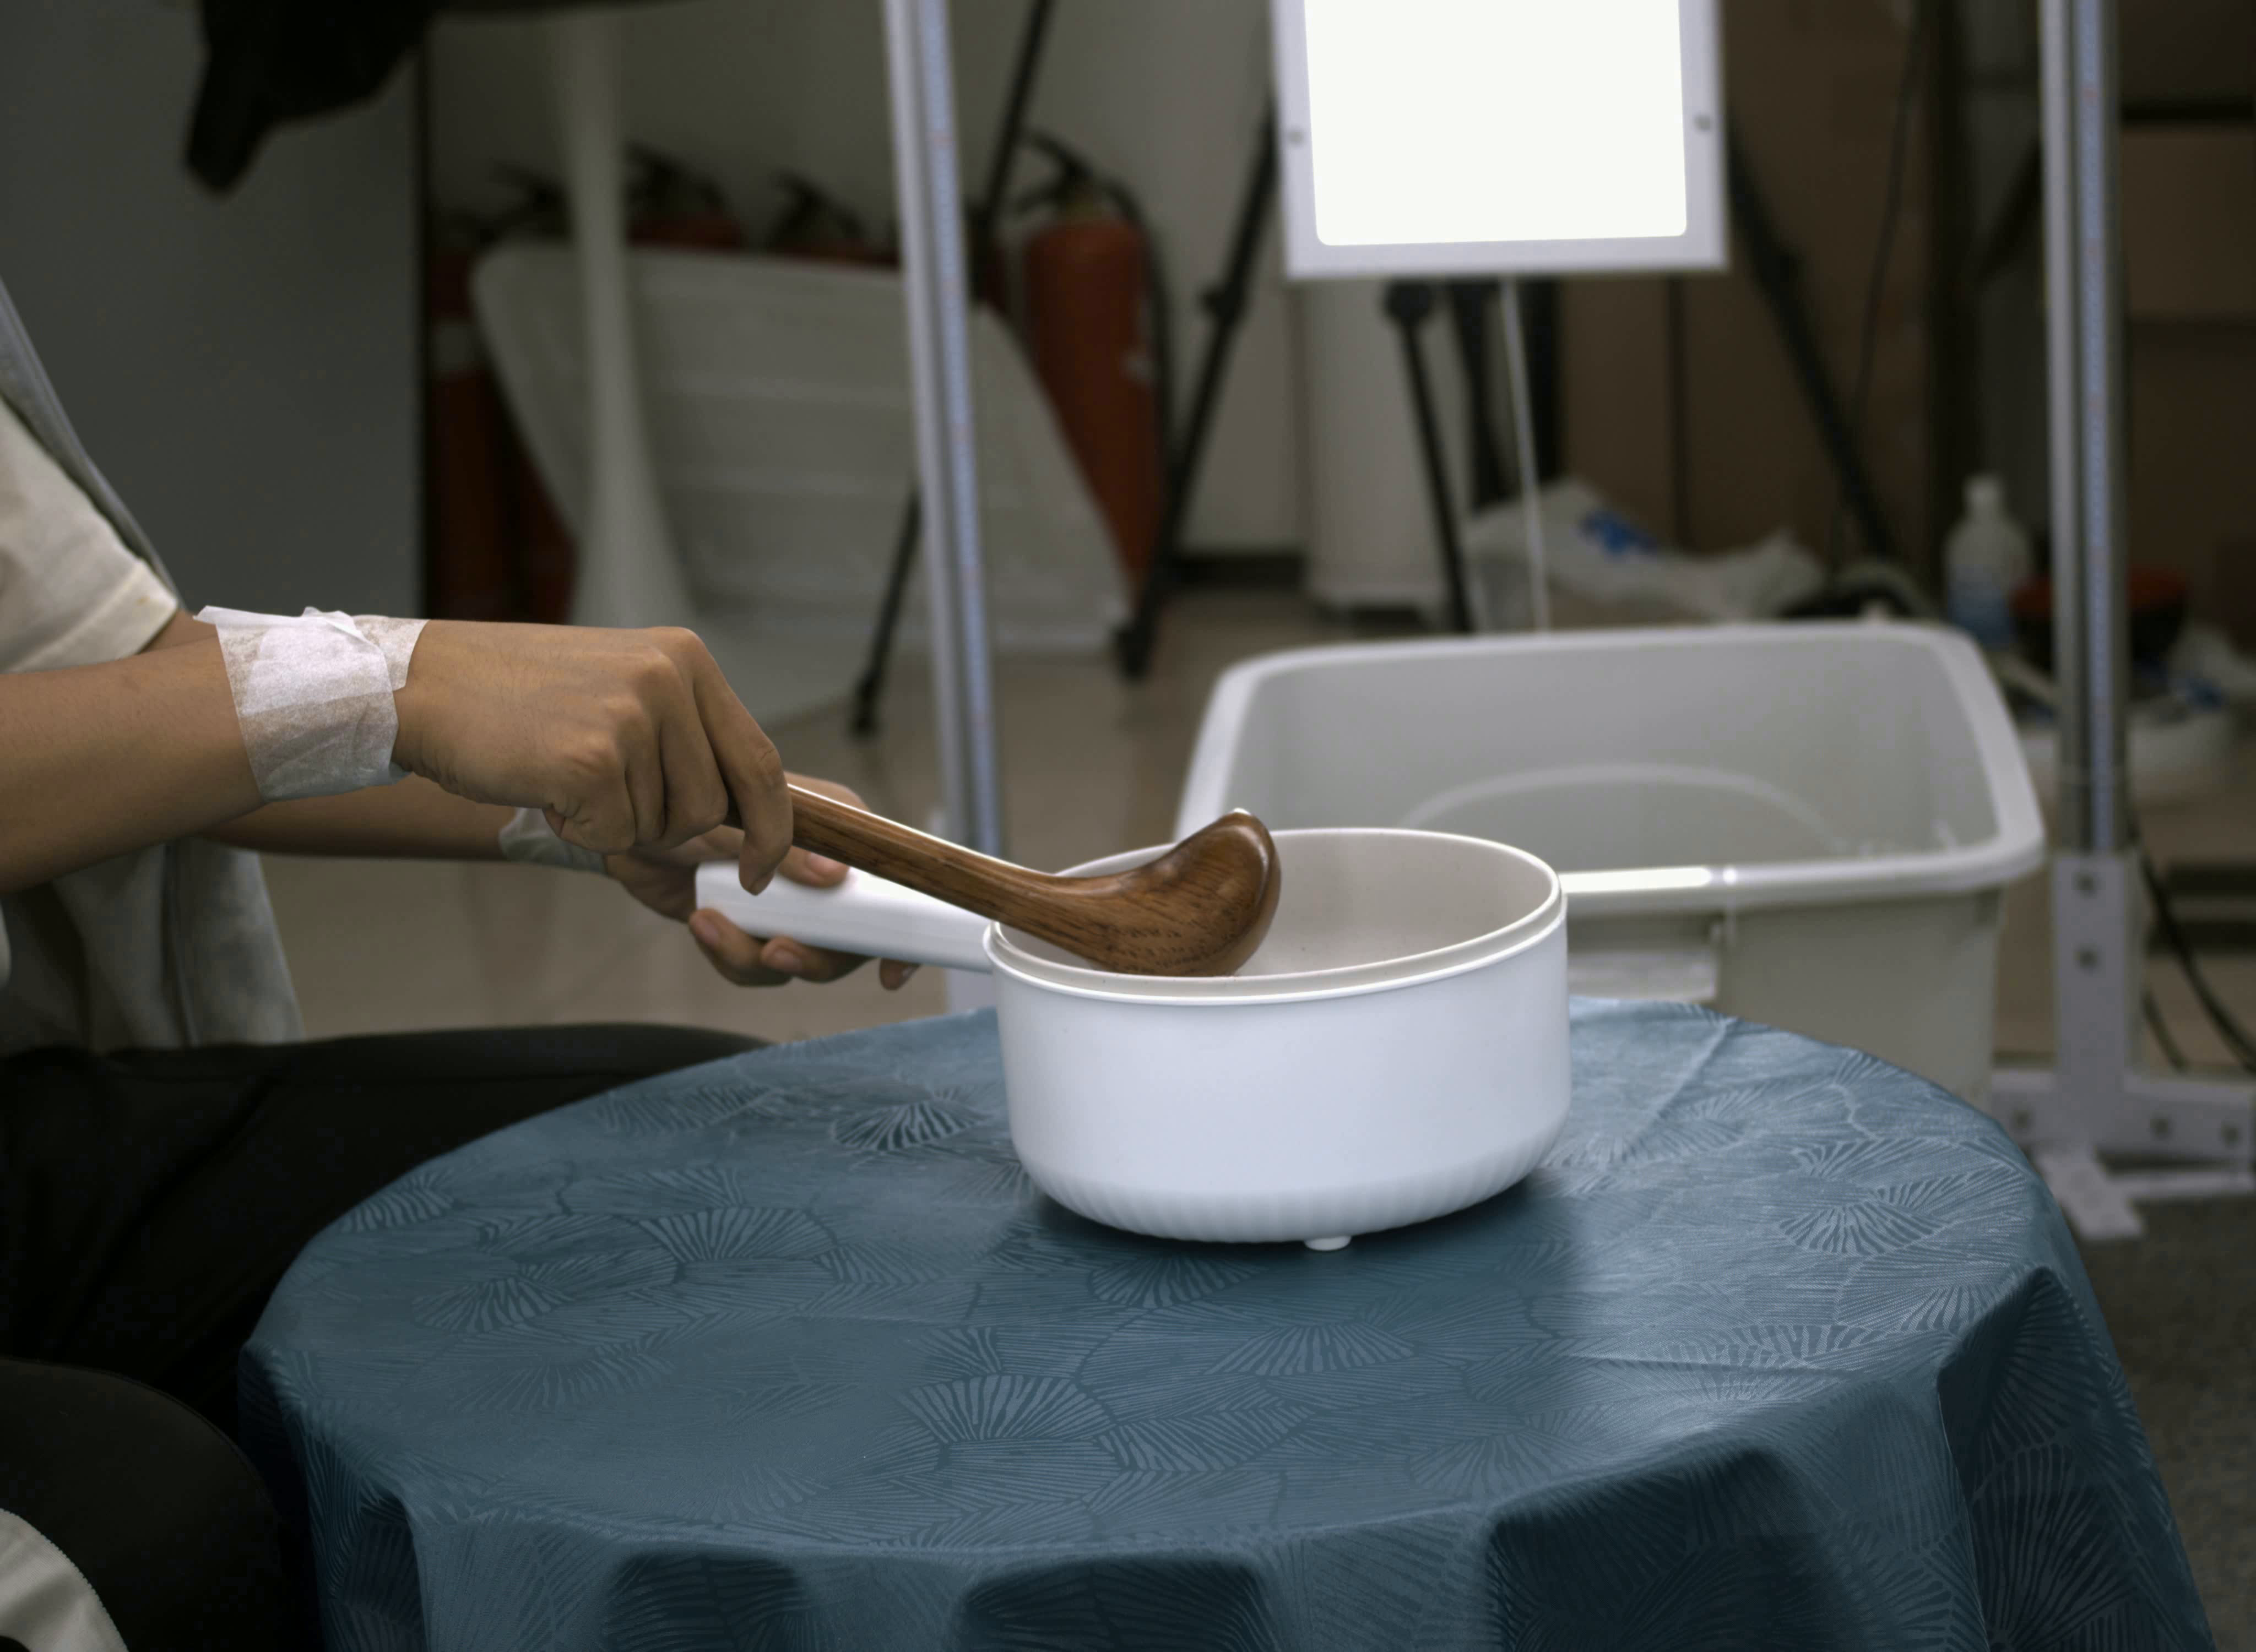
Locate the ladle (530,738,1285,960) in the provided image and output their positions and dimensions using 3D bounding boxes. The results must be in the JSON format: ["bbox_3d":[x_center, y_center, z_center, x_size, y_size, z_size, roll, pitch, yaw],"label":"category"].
[{"bbox_3d":[-0.072,0.000,1.865,0.270,0.082,0.077,16,17,-14],"label":"ladle"}]

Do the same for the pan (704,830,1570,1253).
[{"bbox_3d":[-0.006,0.069,1.930,0.362,0.102,0.196,6,18,40],"label":"pan"}]
